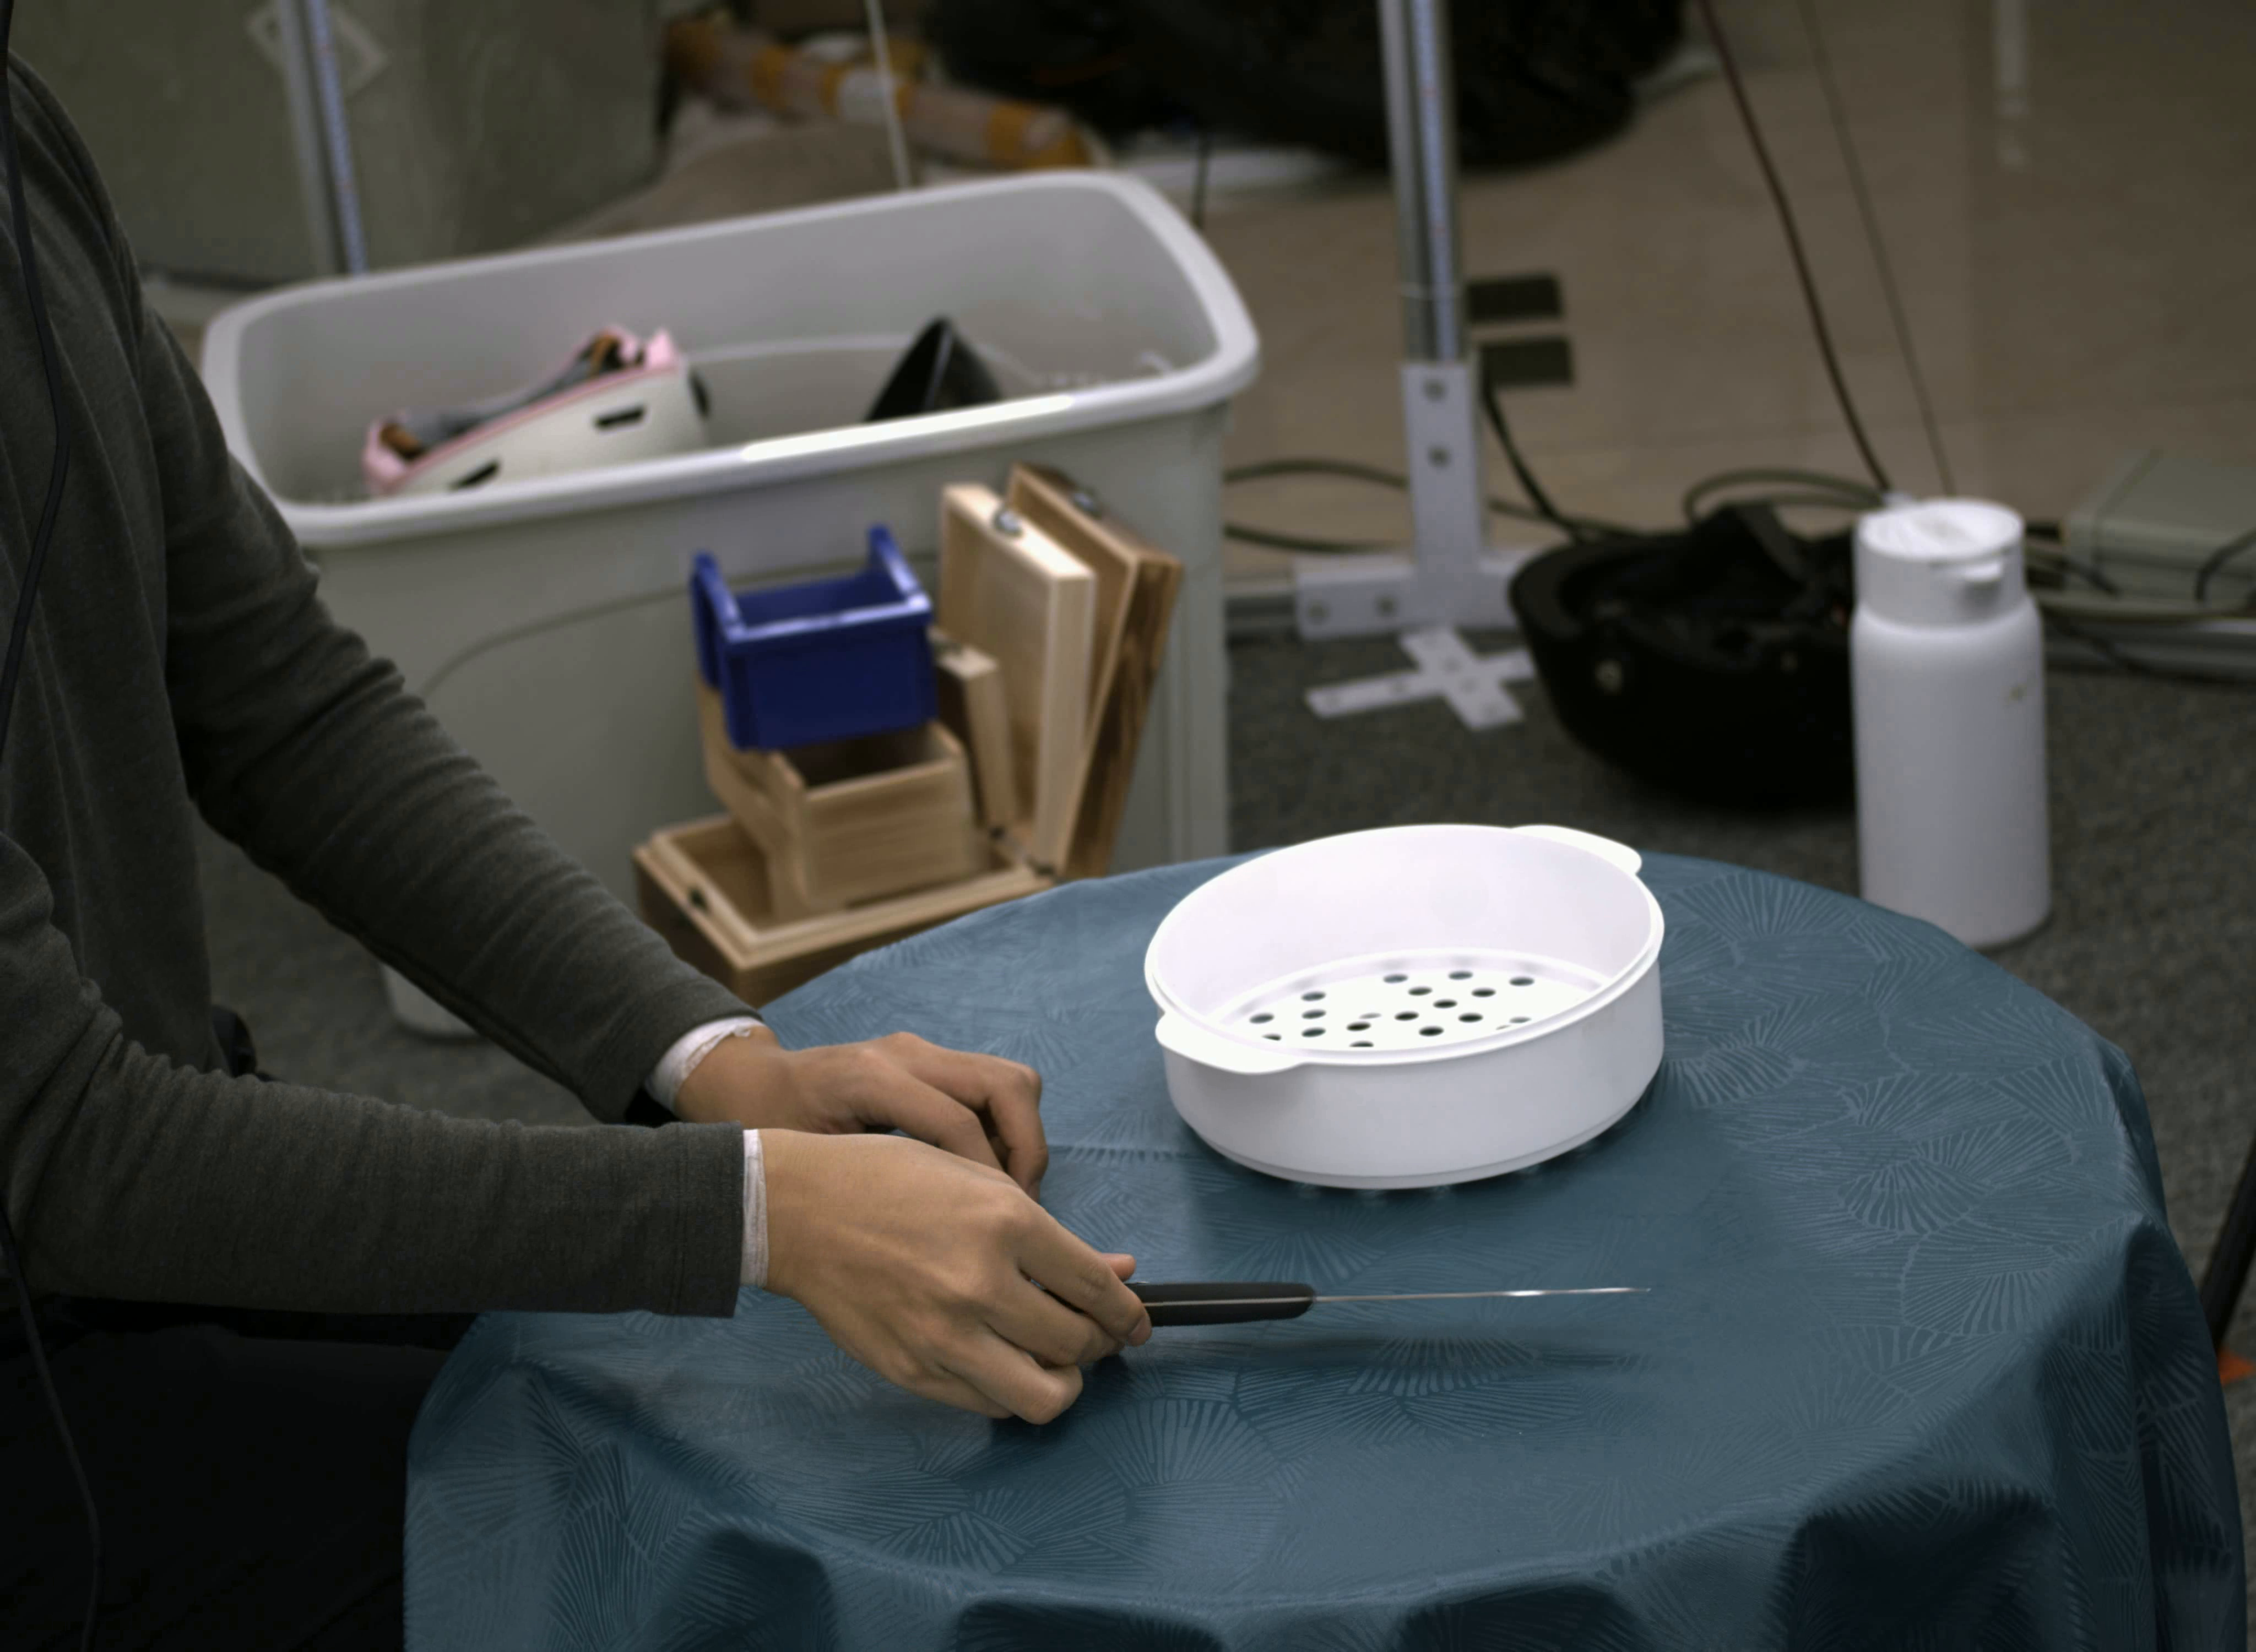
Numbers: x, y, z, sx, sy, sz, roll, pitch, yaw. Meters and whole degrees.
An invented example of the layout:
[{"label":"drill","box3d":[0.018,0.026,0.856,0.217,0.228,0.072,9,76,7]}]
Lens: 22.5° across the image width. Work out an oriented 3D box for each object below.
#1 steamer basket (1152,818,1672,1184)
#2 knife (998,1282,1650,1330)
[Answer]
[{"label":"steamer basket","box3d":[0.112,0.068,2.194,0.228,0.070,0.200,-28,31,-36]},{"label":"knife","box3d":[0.067,0.170,2.022,0.238,0.016,0.024,-2,2,13]}]
